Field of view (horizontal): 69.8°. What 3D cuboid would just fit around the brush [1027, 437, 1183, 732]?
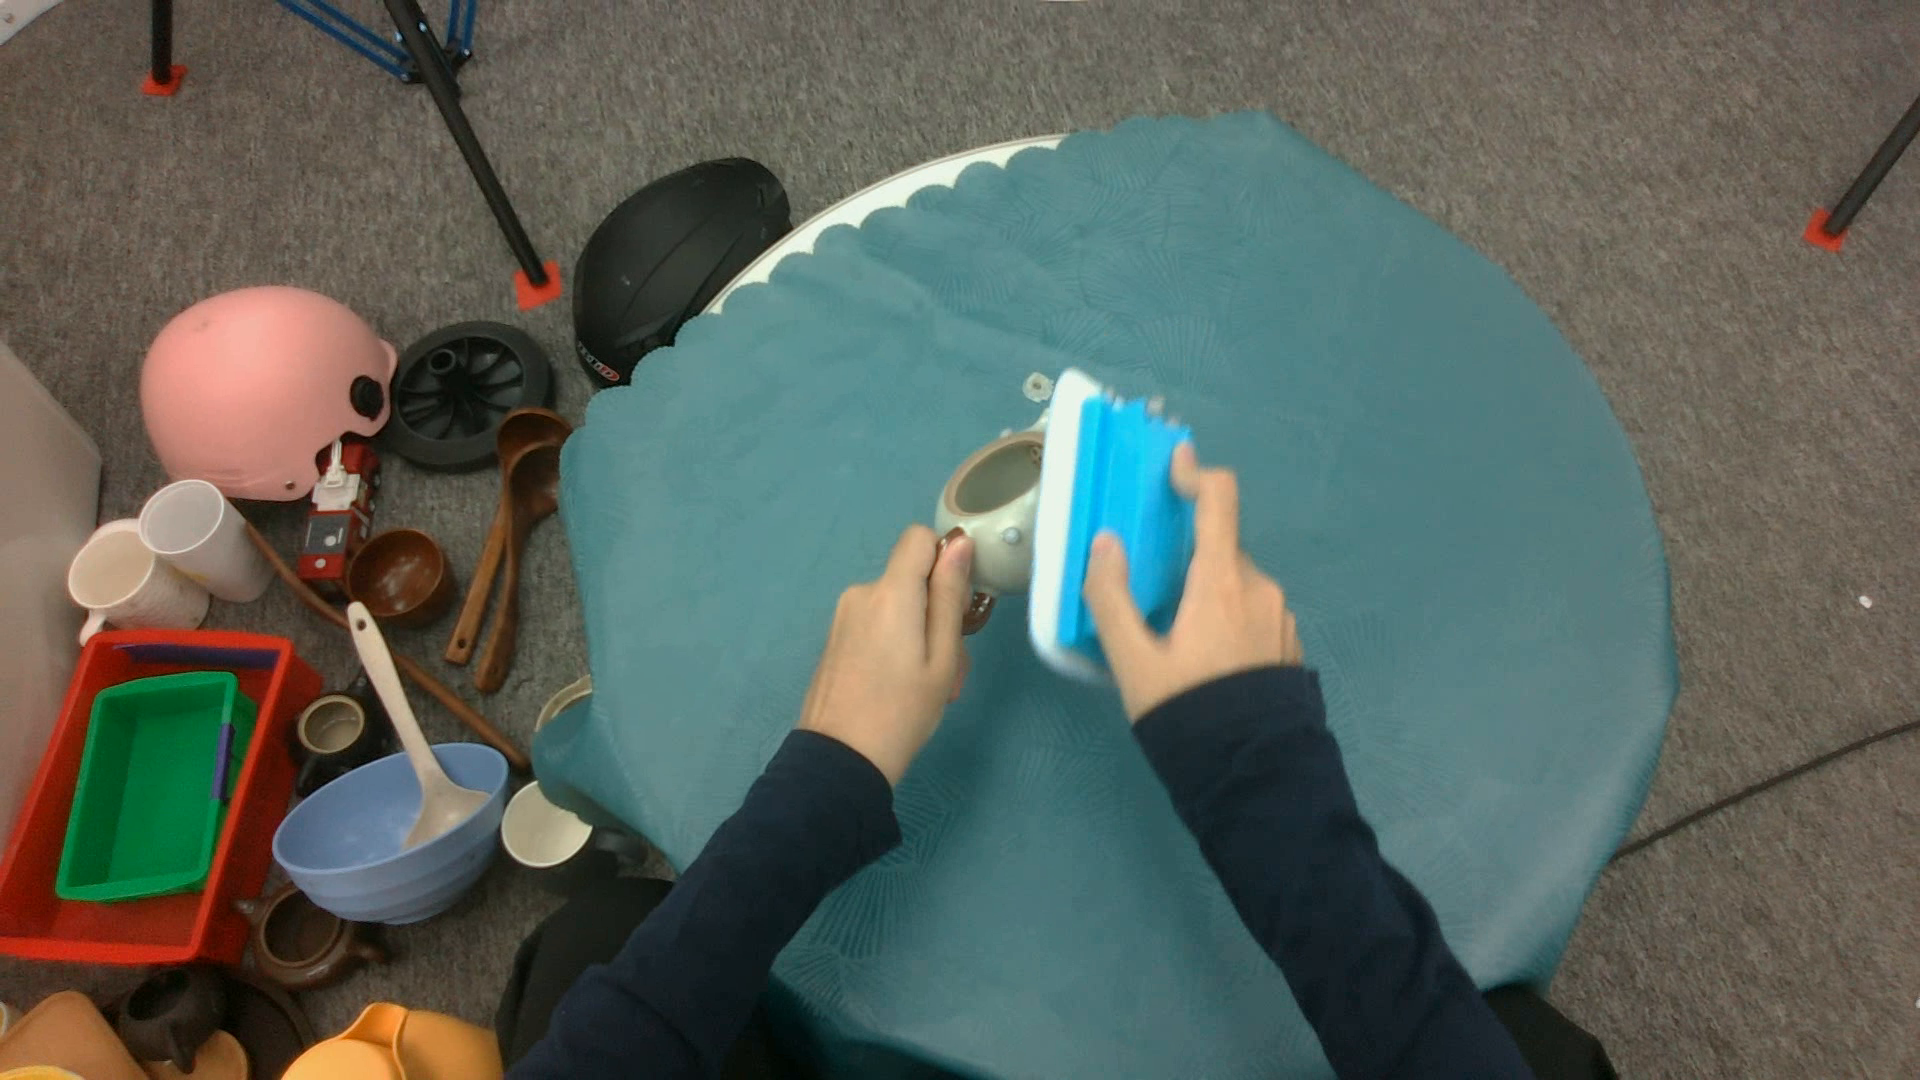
[{"bbox_3d":[0.076,0.014,0.650,0.084,0.055,0.144,21,56,-31],"label":"brush"}]

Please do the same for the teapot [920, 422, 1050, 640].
[{"bbox_3d":[0.020,-0.002,0.709,0.091,0.059,0.128,4,45,41],"label":"teapot"}]
